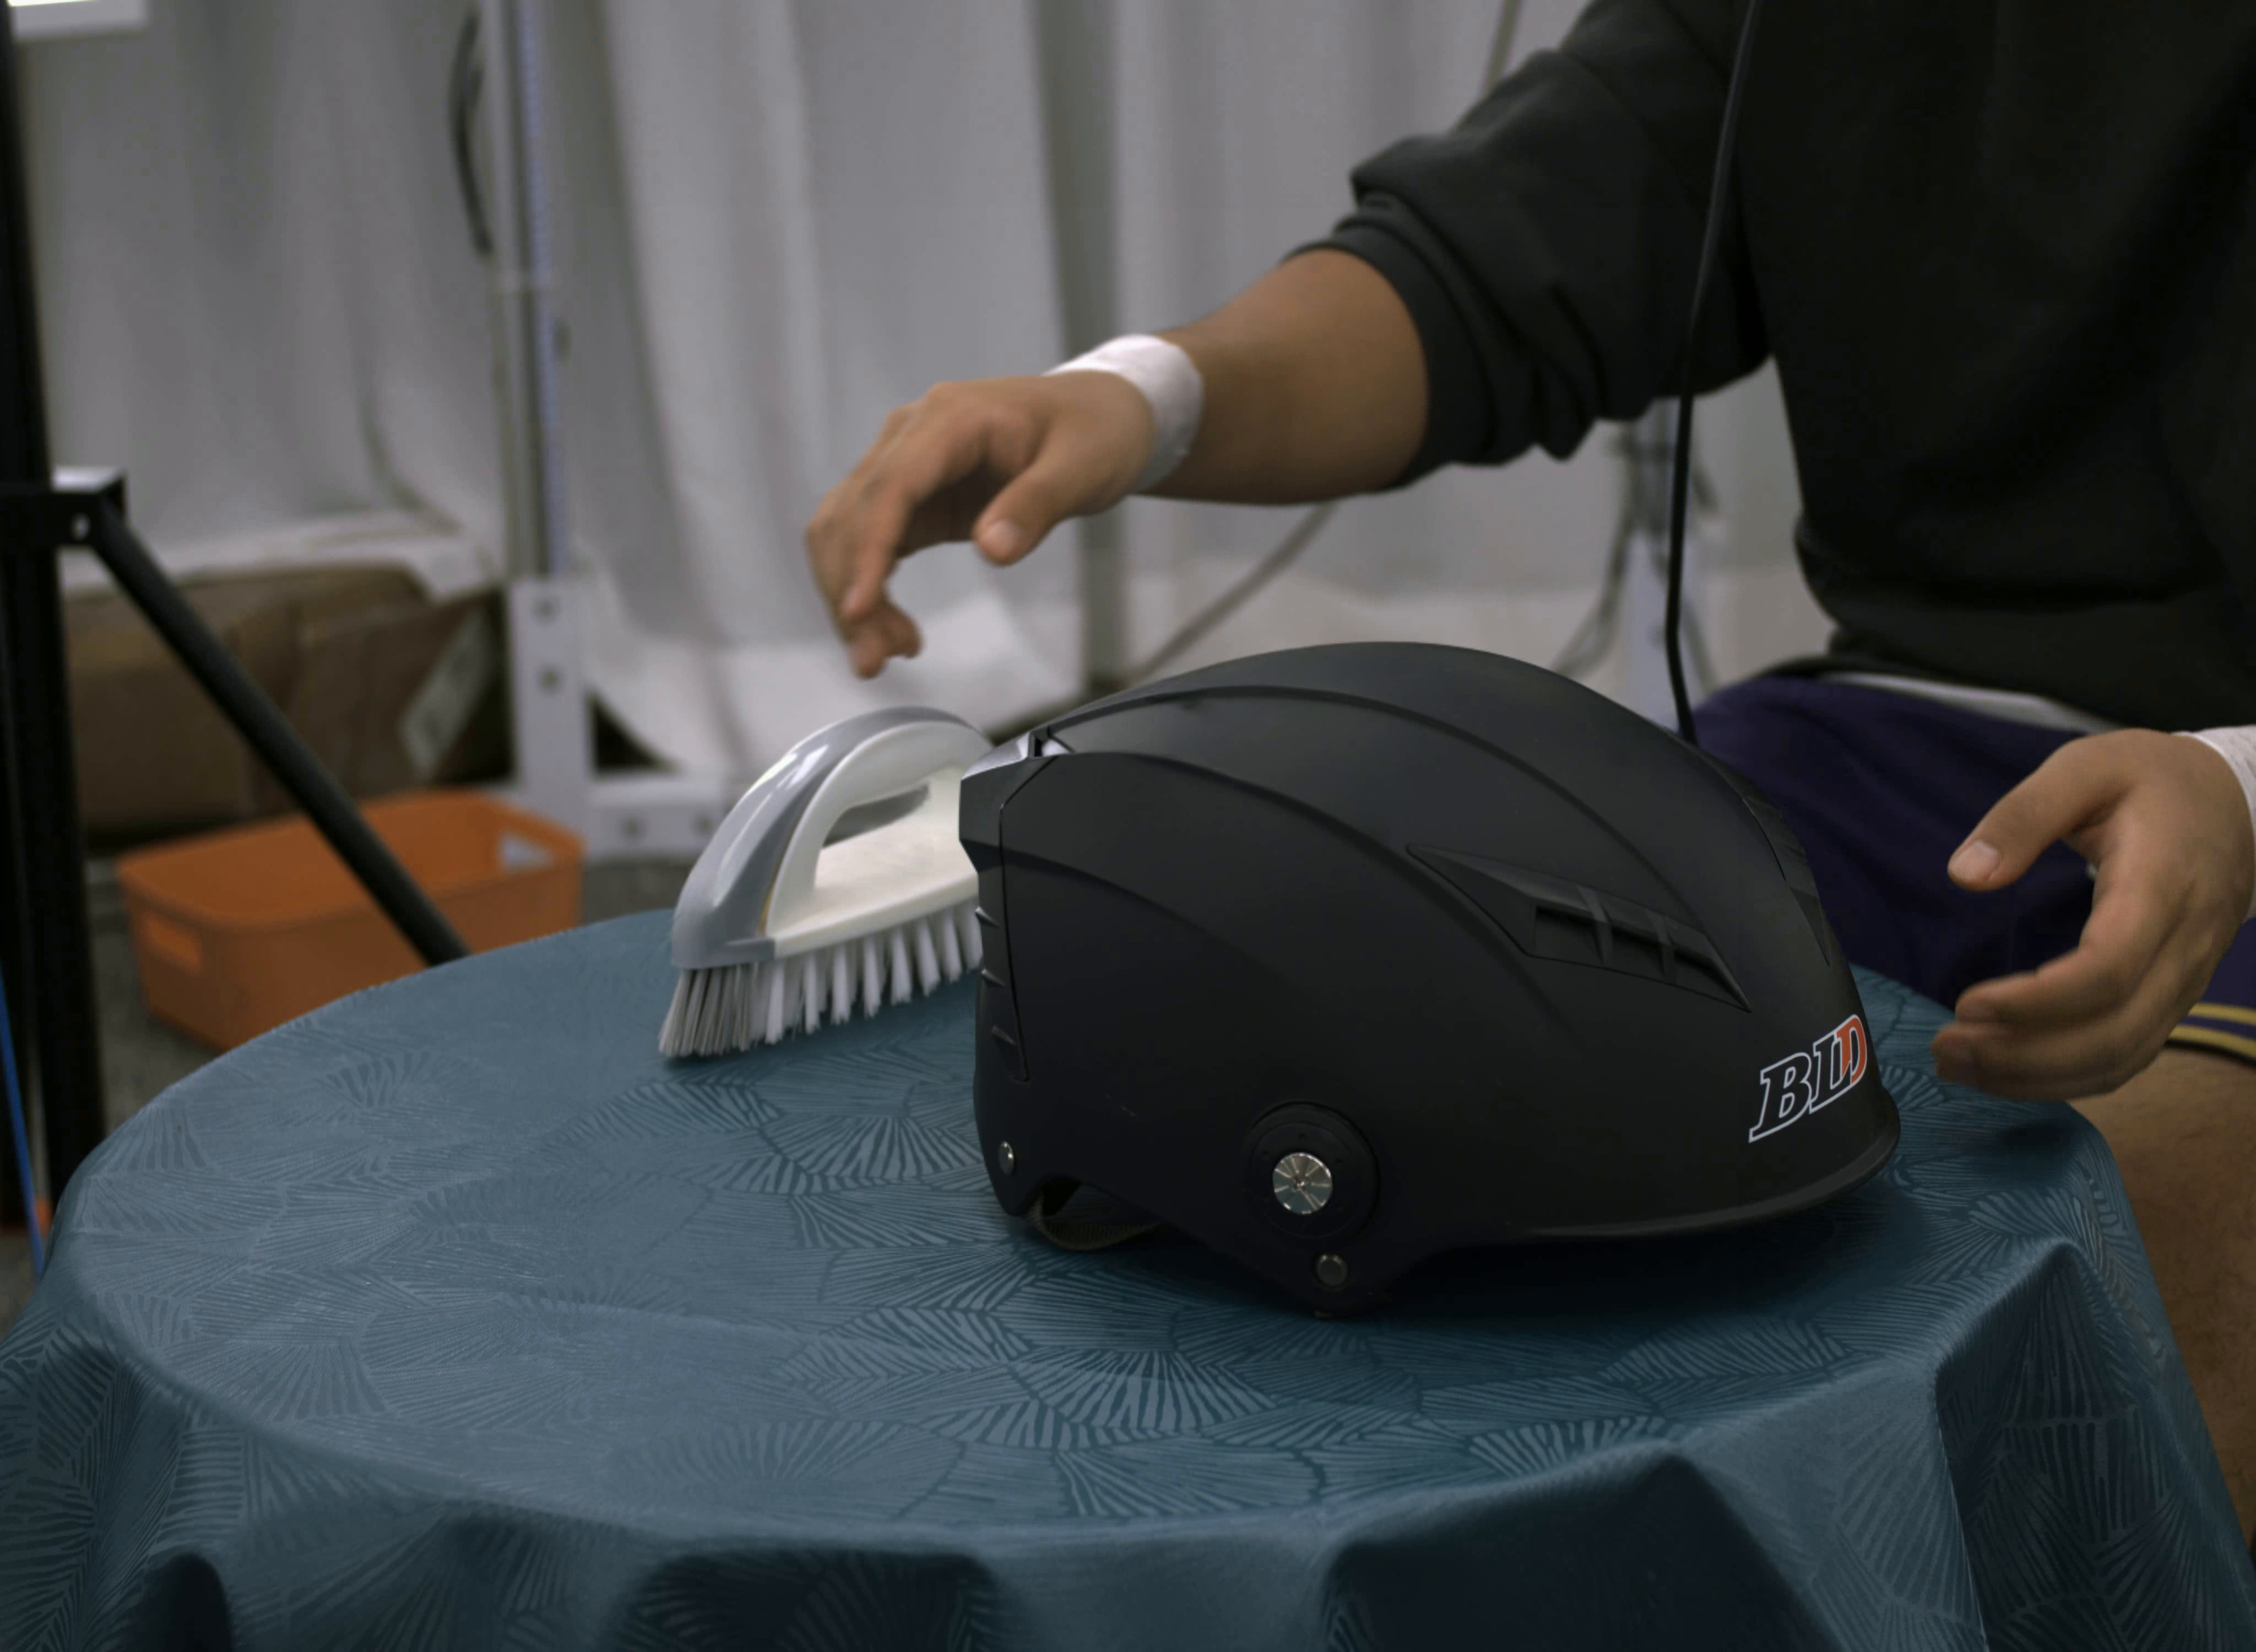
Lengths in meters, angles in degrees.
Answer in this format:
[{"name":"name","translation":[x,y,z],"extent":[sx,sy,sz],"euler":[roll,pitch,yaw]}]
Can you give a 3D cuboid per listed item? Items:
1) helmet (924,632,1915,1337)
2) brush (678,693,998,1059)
[{"name":"helmet","translation":[0.080,0.032,1.527],"extent":[0.282,0.172,0.242],"euler":[4,17,37]},{"name":"brush","translation":[-0.093,0.012,1.748],"extent":[0.063,0.094,0.172],"euler":[7,20,36]}]
